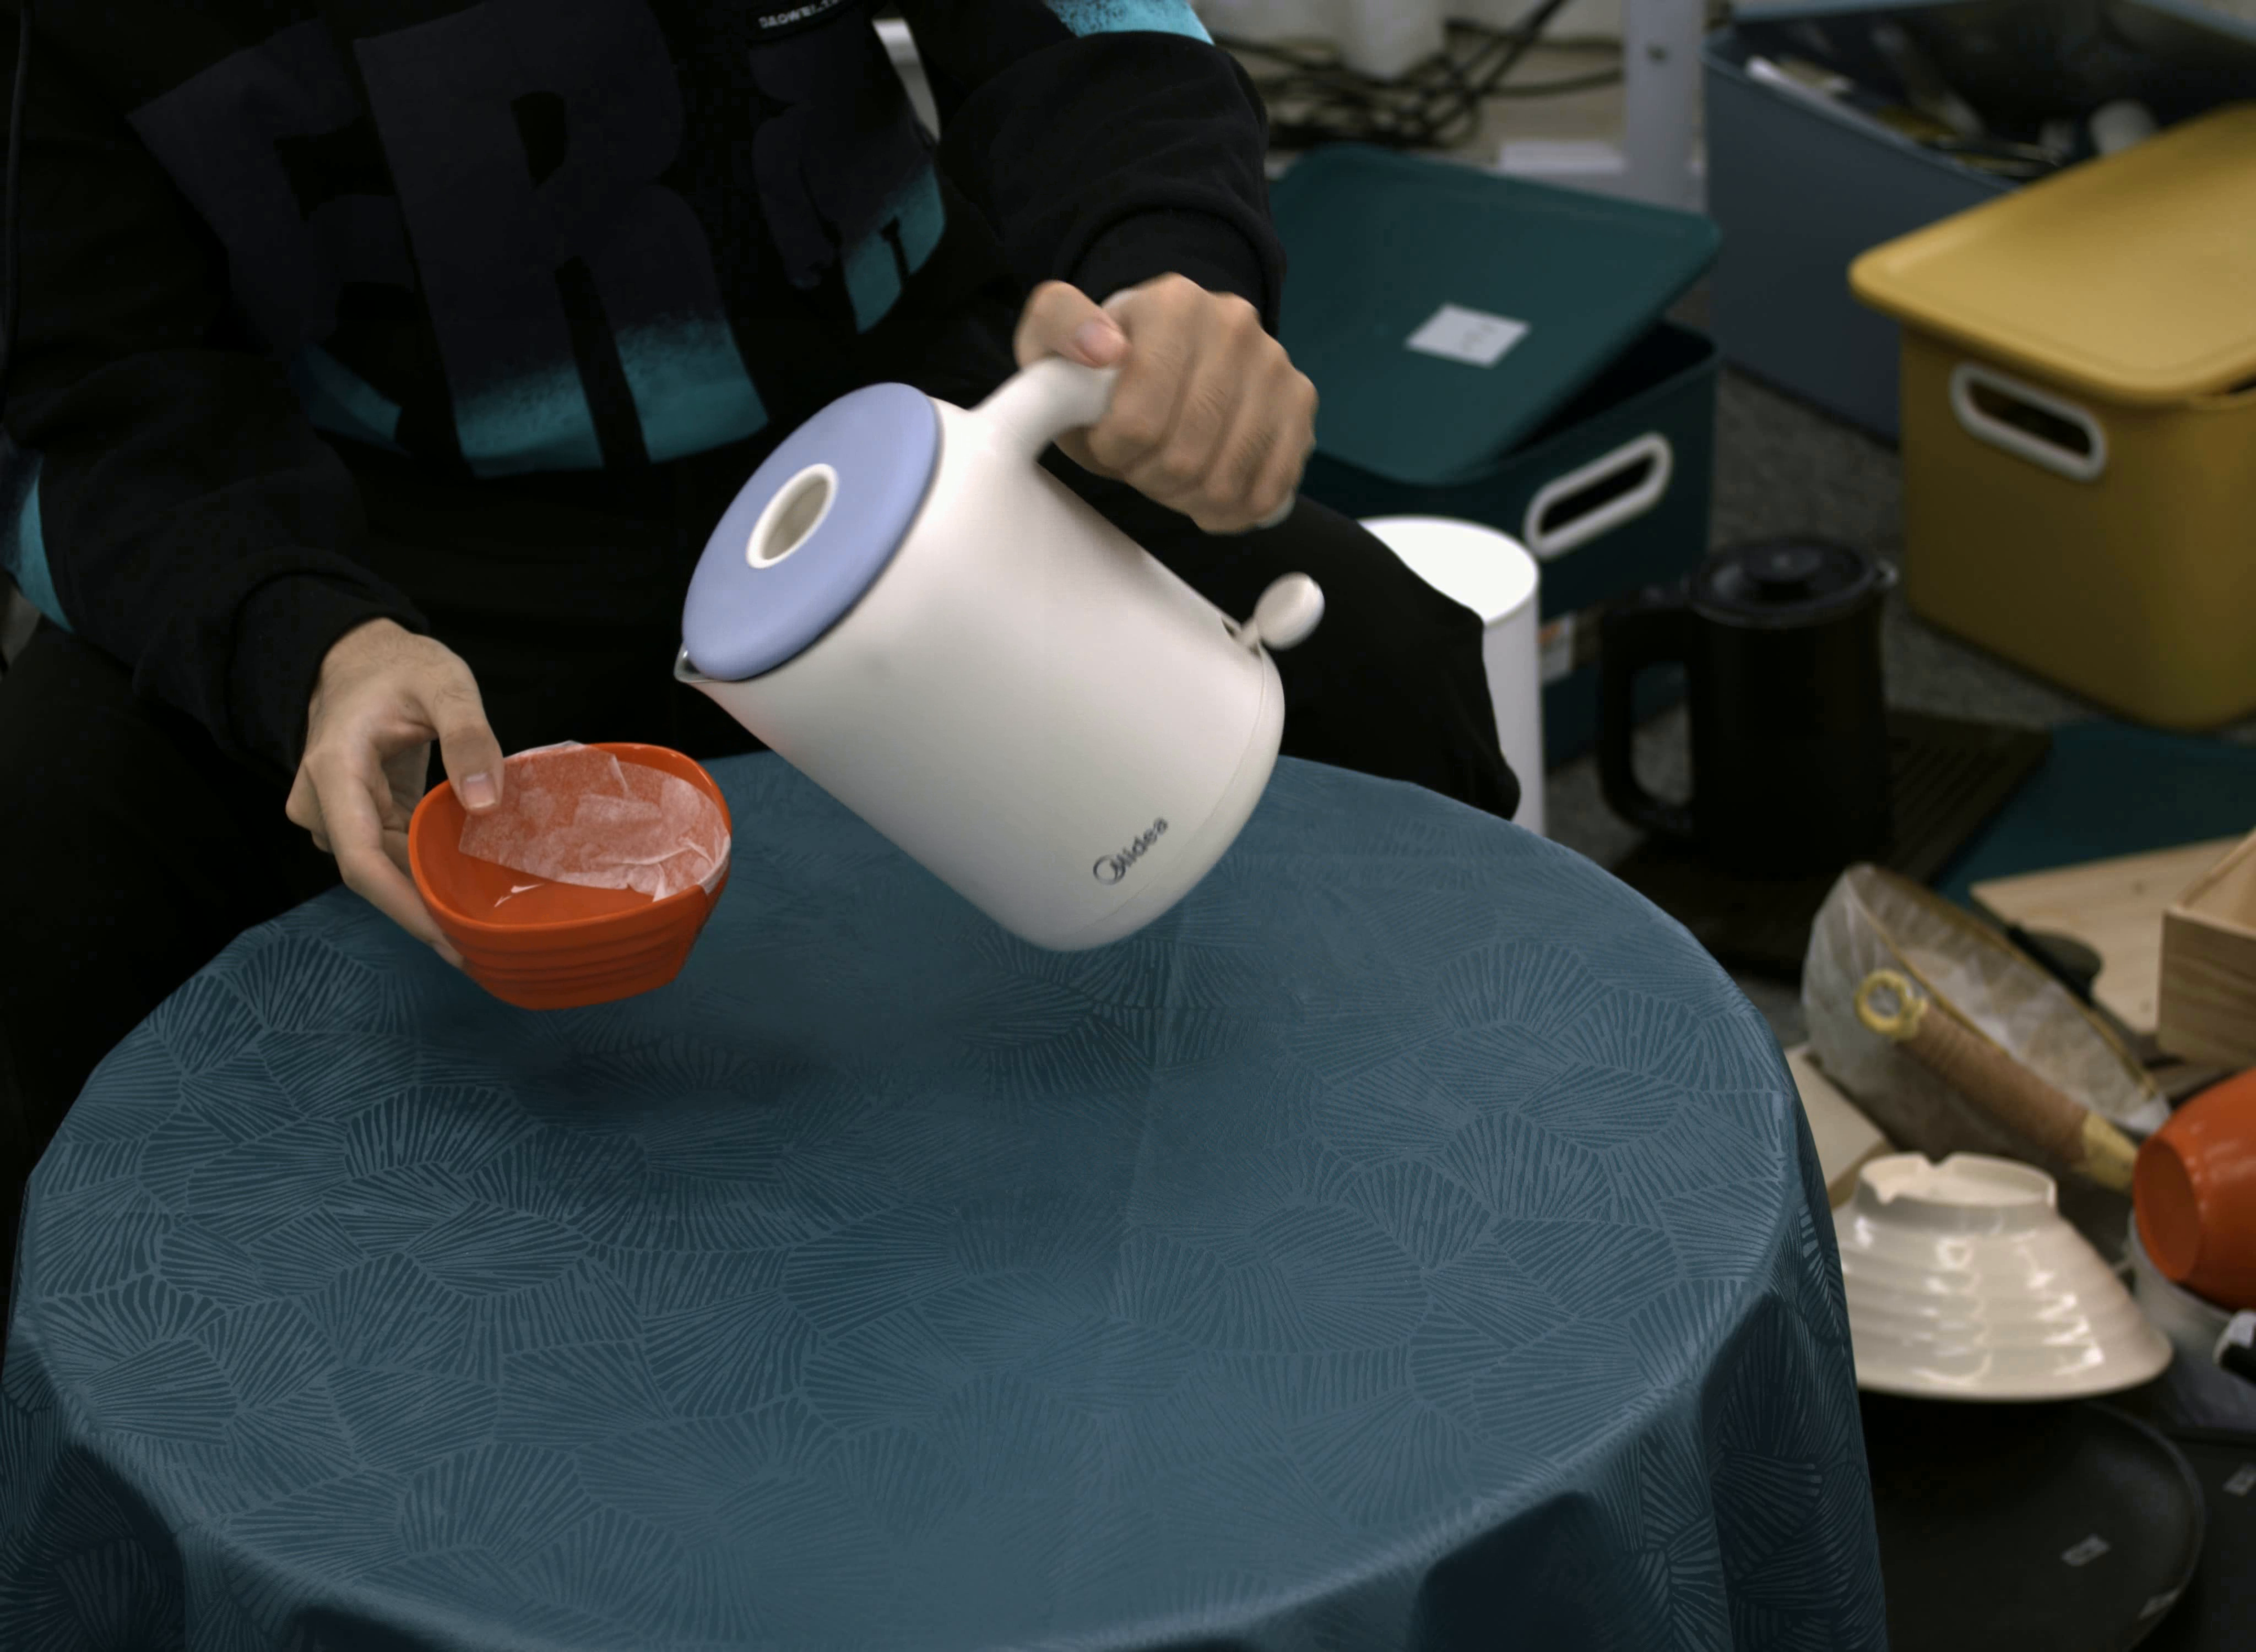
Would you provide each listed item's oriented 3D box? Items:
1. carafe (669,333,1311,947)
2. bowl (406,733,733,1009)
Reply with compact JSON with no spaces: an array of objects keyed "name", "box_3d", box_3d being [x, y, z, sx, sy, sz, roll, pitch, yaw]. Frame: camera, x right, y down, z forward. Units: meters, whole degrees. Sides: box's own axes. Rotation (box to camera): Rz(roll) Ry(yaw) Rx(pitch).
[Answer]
[{"name":"carafe","box_3d":[-0.033,-0.072,1.890,0.190,0.181,0.134,-44,30,11]},{"name":"bowl","box_3d":[-0.188,0.021,1.919,0.118,0.050,0.121,-3,35,3]}]
